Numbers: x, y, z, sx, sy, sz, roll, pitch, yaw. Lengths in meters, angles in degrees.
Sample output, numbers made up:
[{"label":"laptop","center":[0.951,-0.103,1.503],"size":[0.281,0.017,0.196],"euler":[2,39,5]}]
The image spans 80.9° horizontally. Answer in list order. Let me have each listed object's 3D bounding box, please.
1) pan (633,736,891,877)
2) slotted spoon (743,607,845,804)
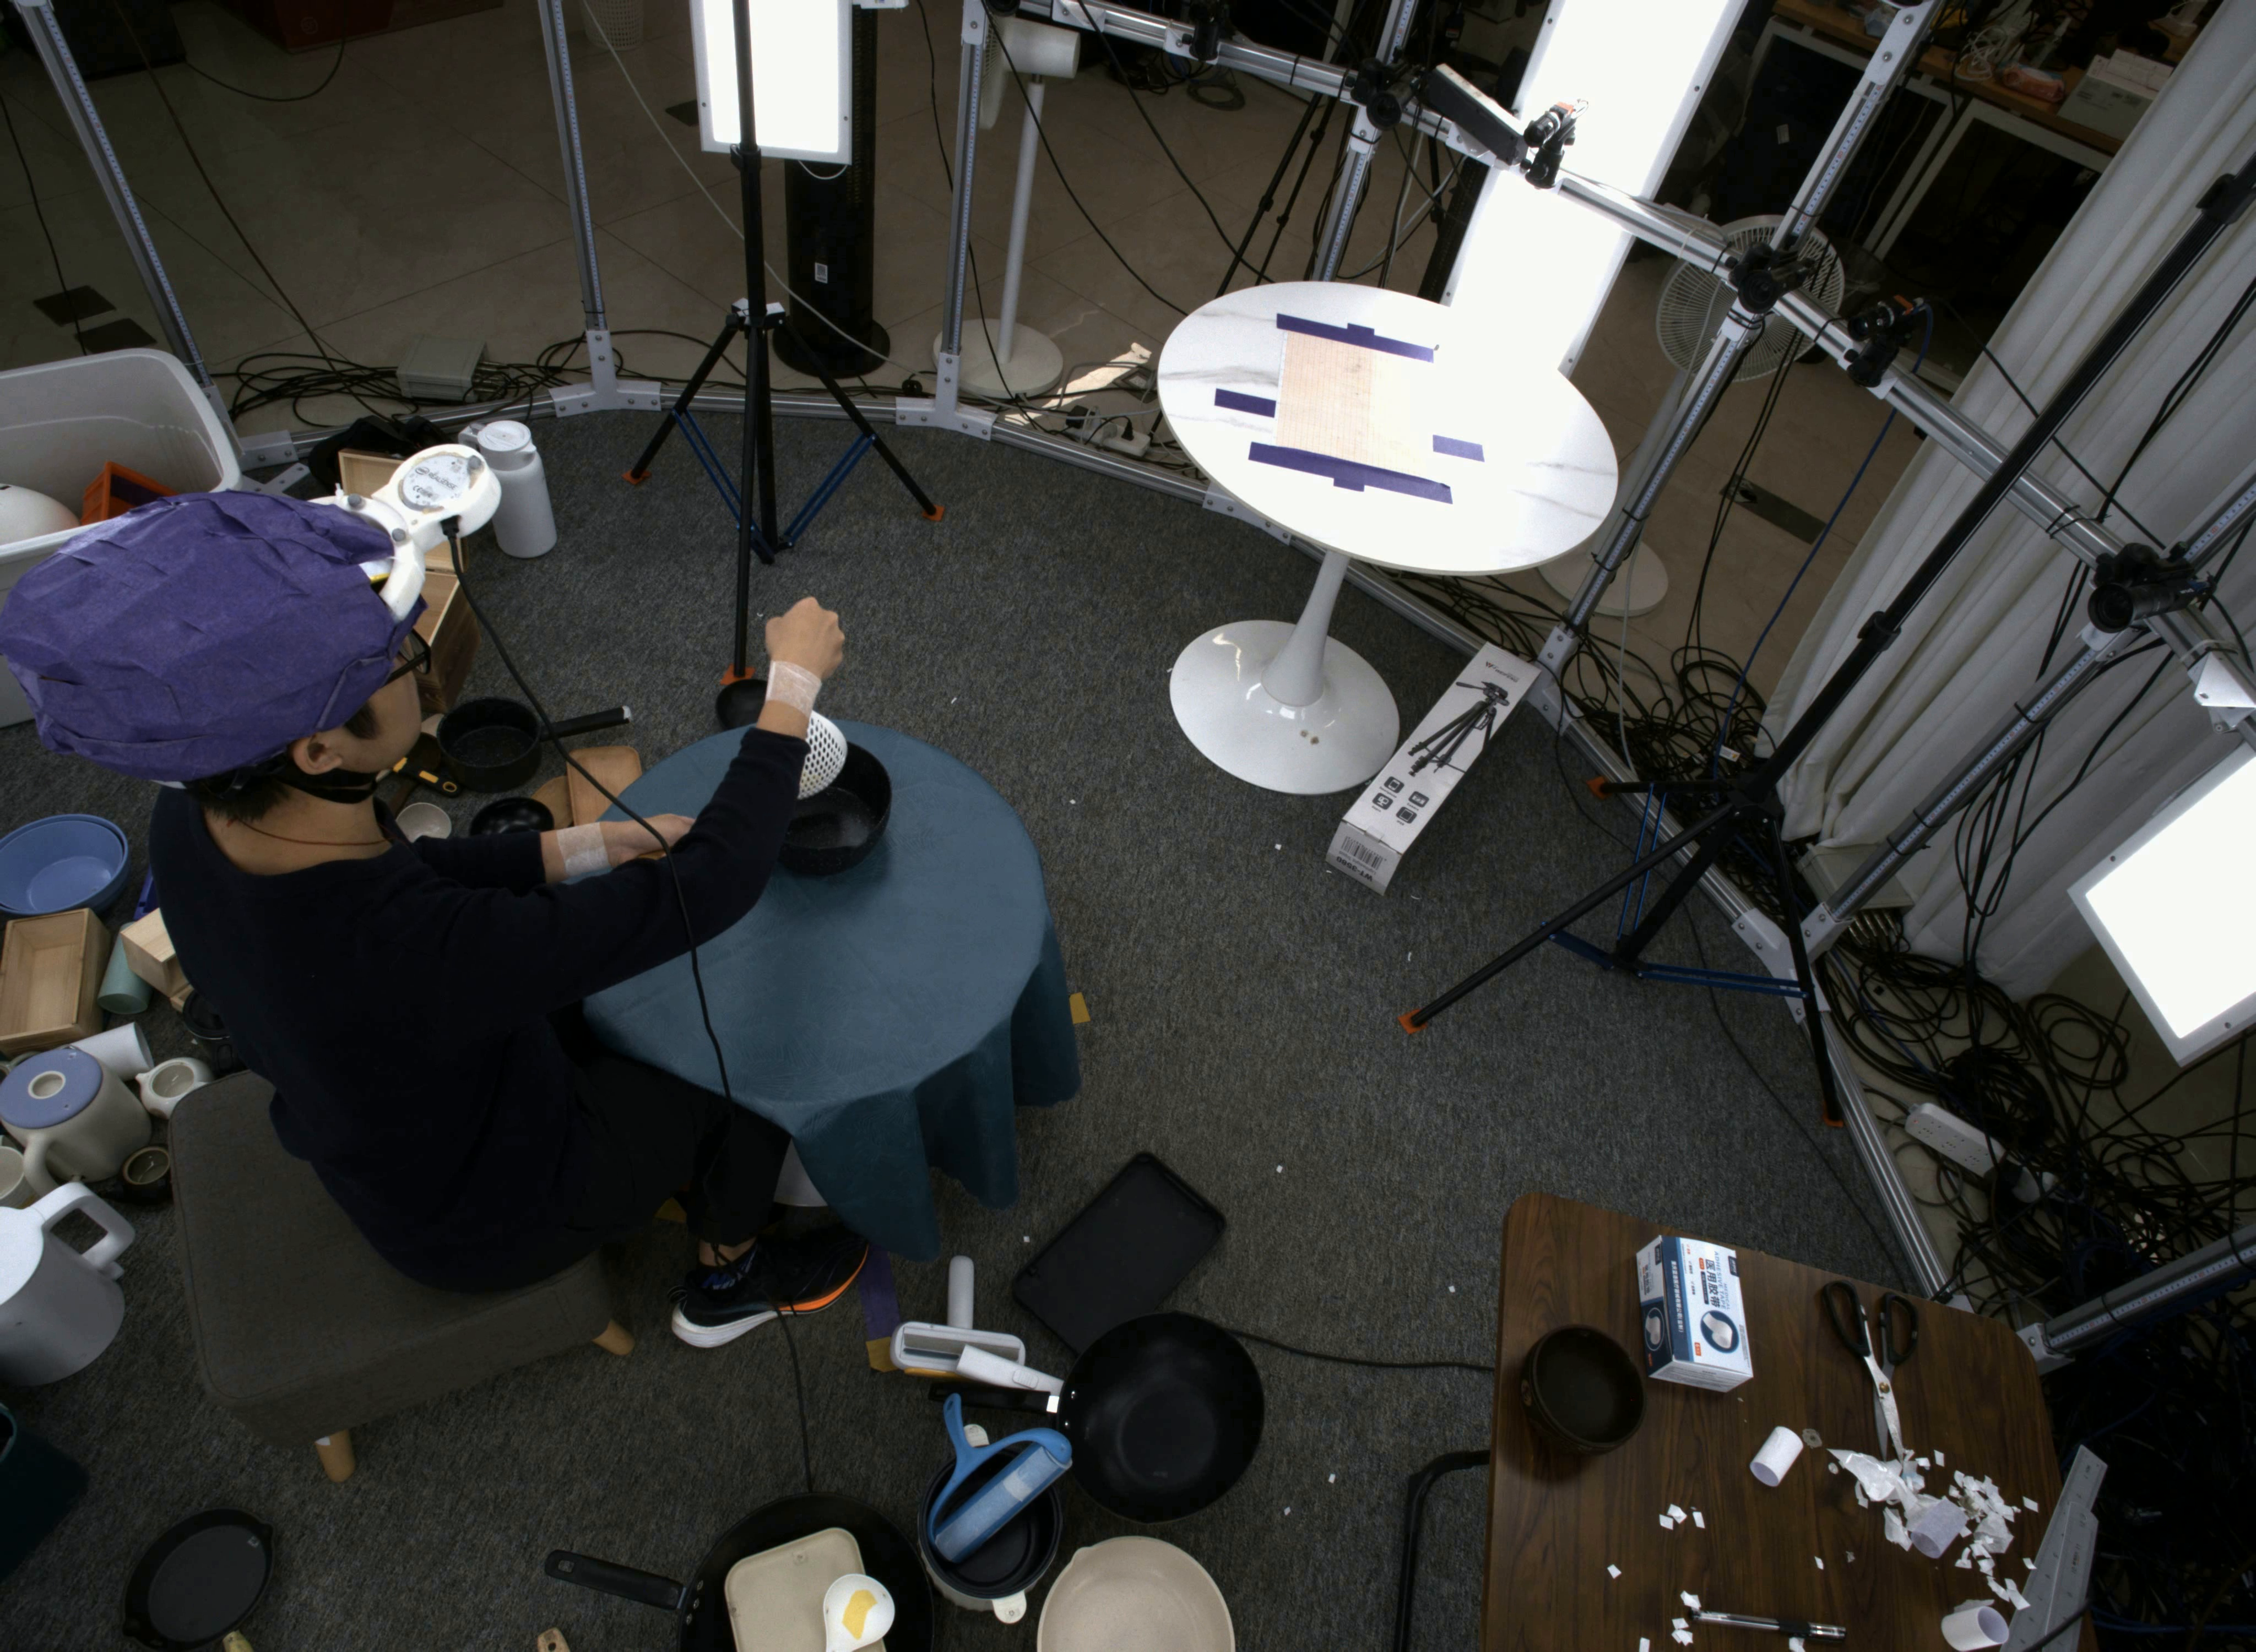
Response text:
[{"label":"pan","center":[-0.459,0.005,1.631],"size":[0.344,0.110,0.203],"euler":[-30,66,-32]},{"label":"slotted spoon","center":[-0.402,-0.138,1.563],"size":[0.137,0.356,0.049],"euler":[-20,56,-25]}]
